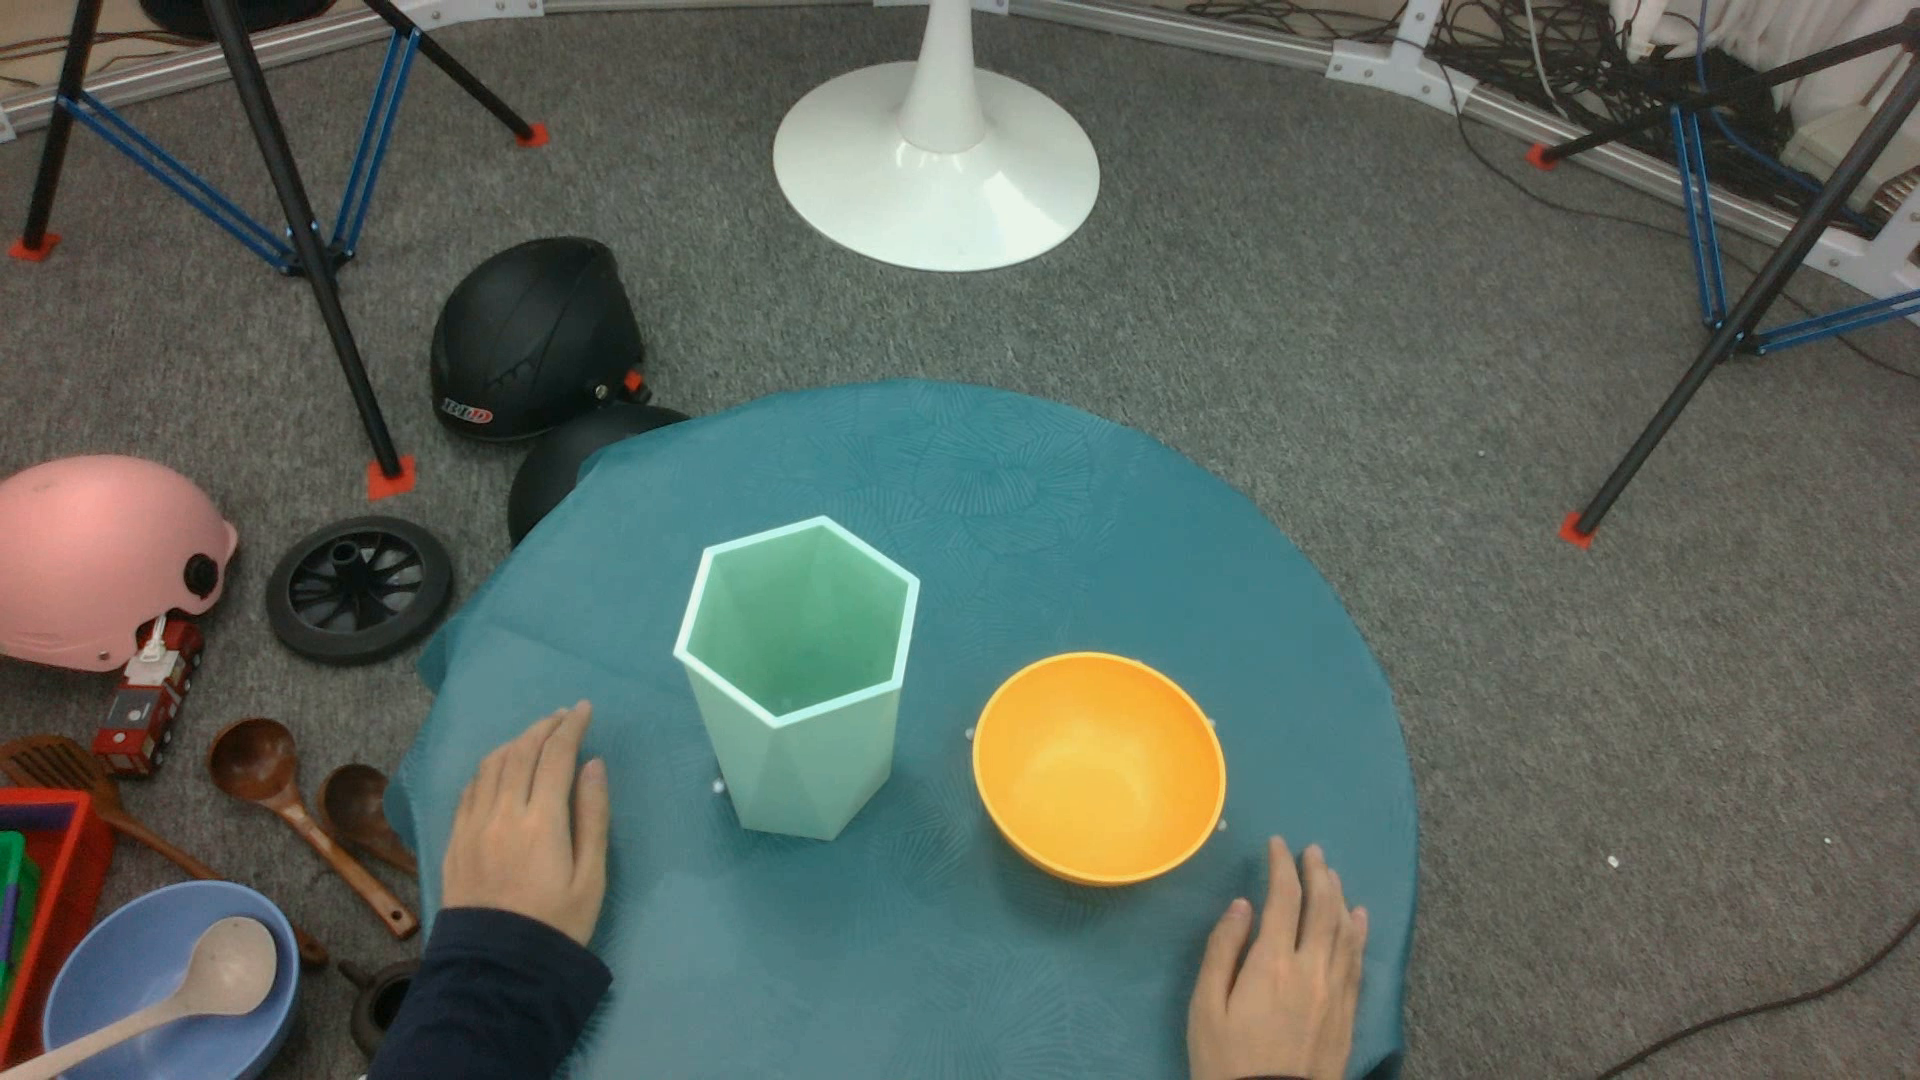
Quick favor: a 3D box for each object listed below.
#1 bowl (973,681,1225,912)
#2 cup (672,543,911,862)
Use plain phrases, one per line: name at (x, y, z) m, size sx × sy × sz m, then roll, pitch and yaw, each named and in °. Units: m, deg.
bowl at (0.079, 0.159, 0.813) m, size 0.145 × 0.060 × 0.146 m, roll 1°, pitch 53°, yaw -2°
cup at (-0.090, 0.101, 0.772) m, size 0.131 × 0.162 × 0.116 m, roll 30°, pitch 56°, yaw 18°
